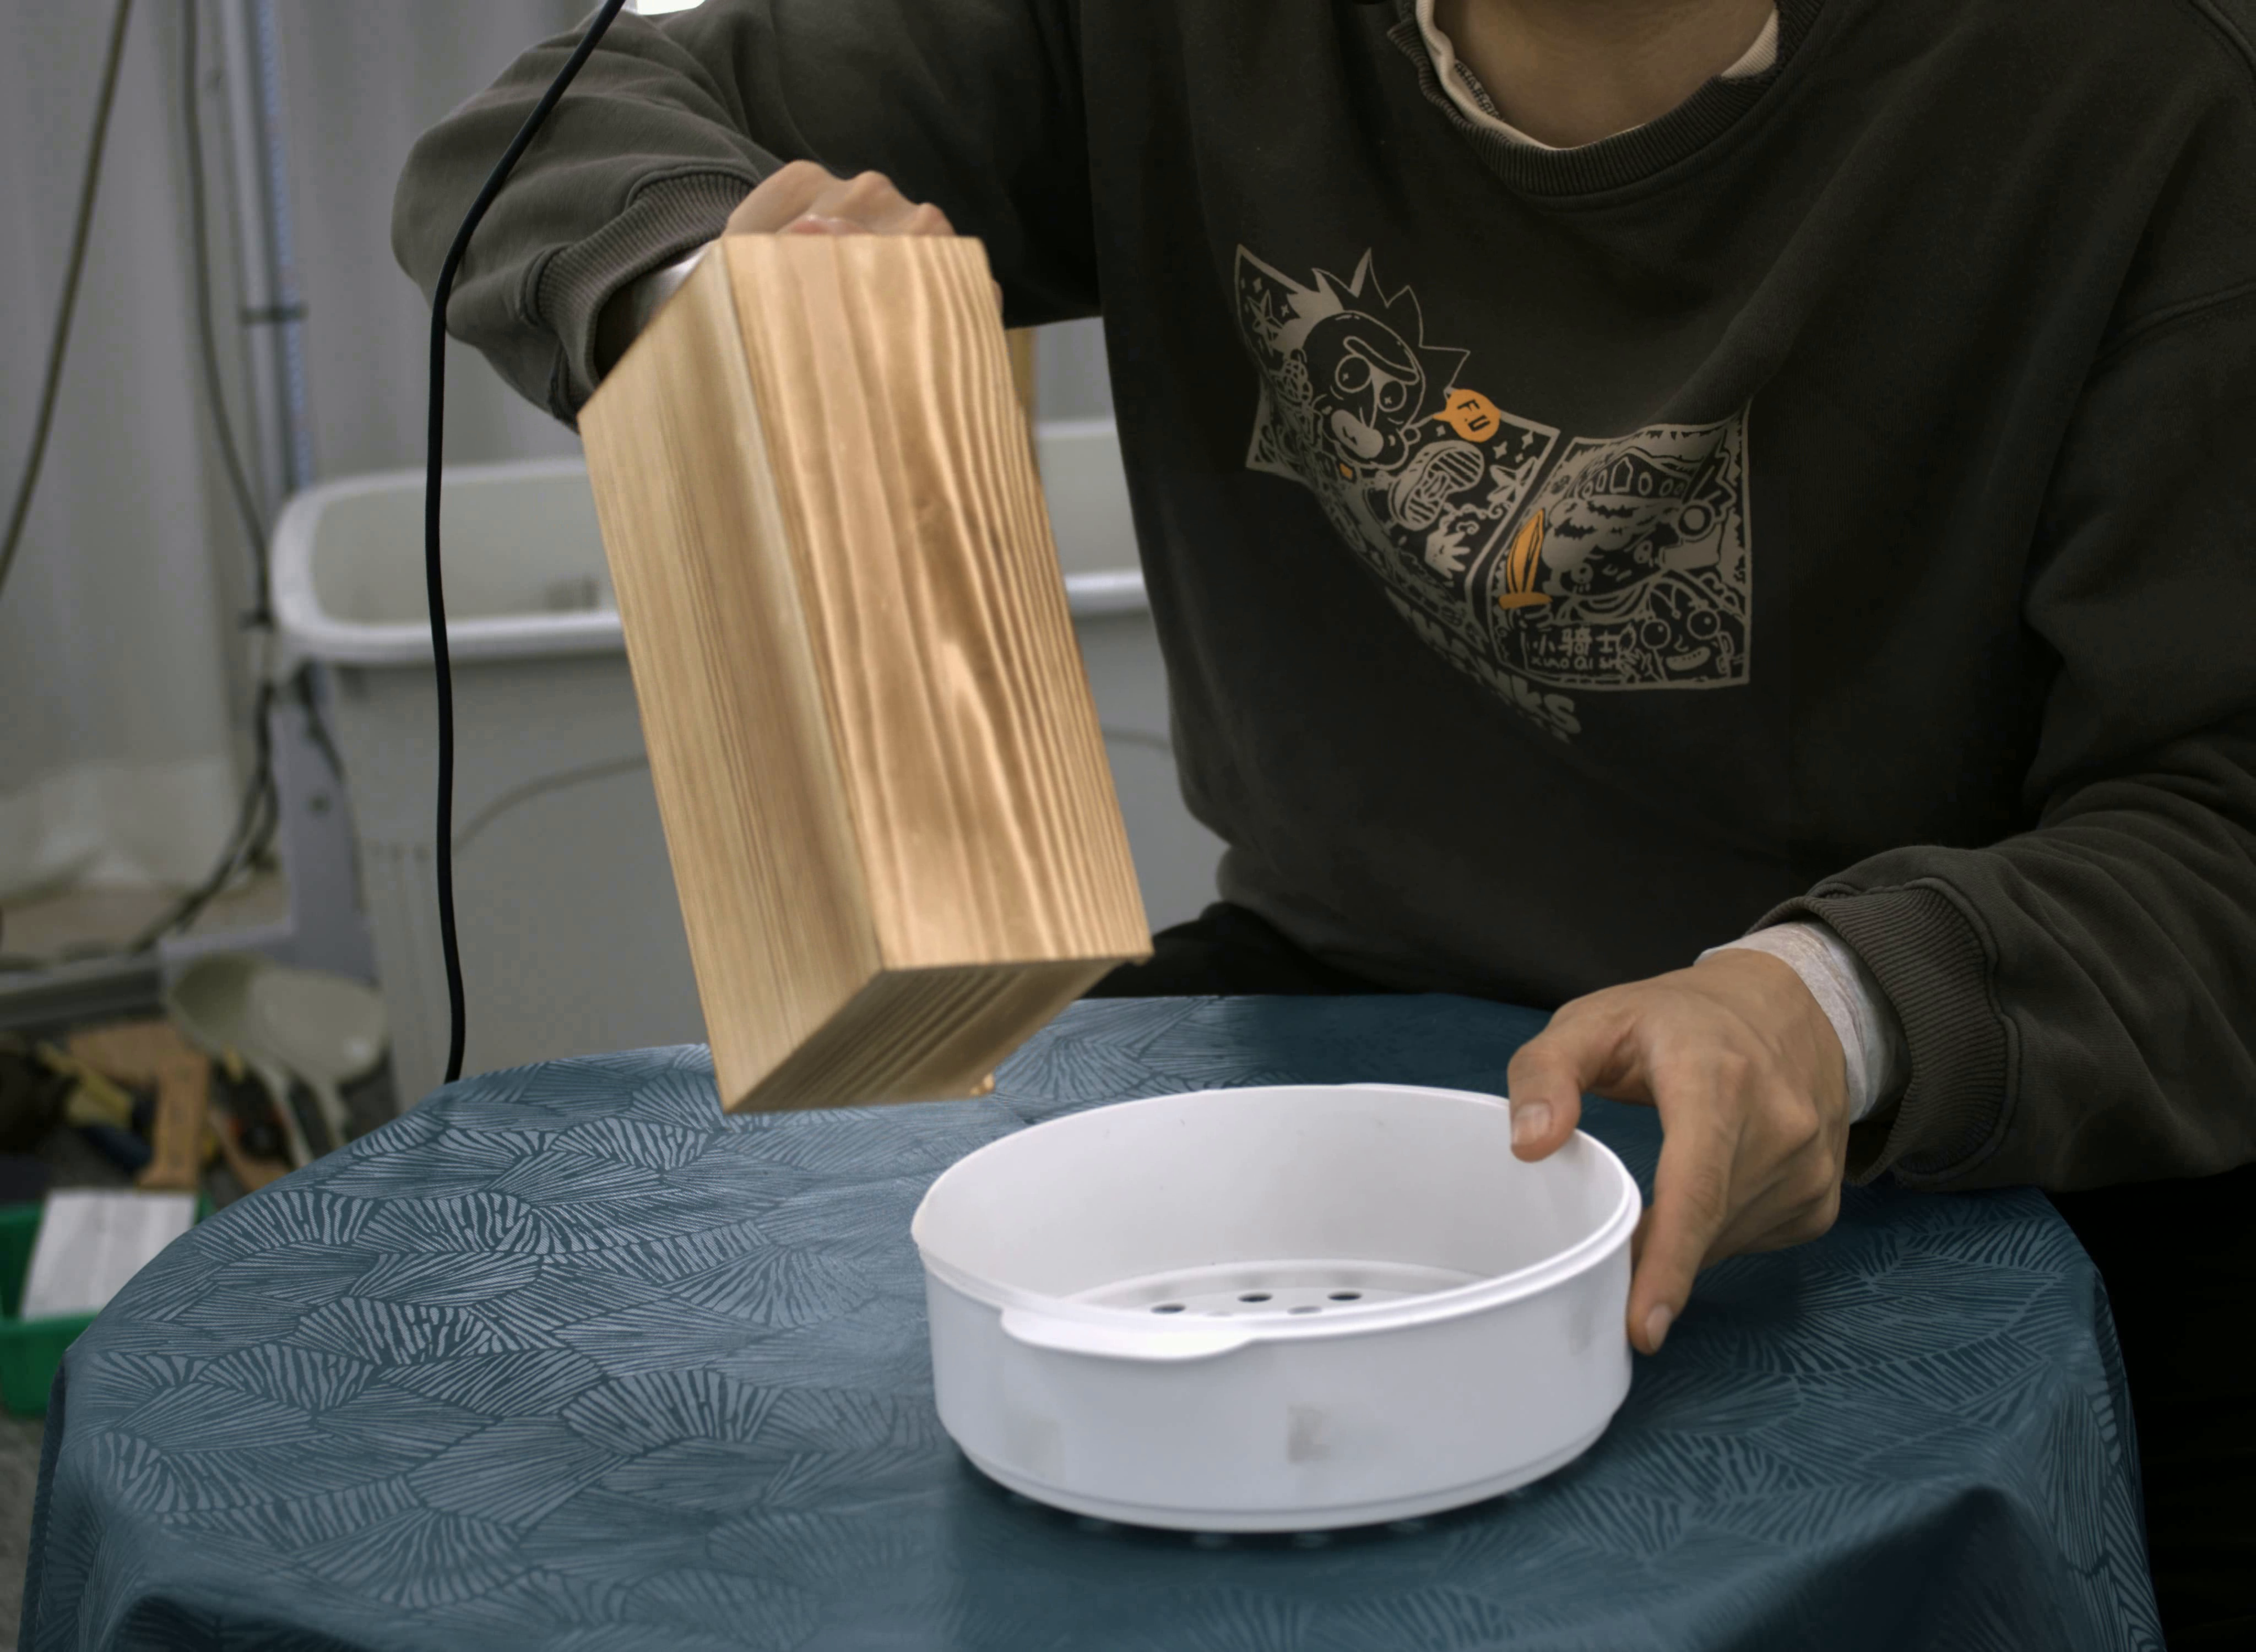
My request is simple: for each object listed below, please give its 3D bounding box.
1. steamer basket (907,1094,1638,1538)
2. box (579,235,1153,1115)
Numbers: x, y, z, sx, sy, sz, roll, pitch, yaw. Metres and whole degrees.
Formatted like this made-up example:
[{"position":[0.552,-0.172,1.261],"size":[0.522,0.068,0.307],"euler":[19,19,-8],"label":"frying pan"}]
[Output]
[{"position":[0.040,0.135,1.510],"size":[0.202,0.069,0.231],"euler":[5,16,26],"label":"steamer basket"},{"position":[-0.074,-0.041,1.476],"size":[0.080,0.214,0.107],"euler":[-1,-24,-30],"label":"box"}]
